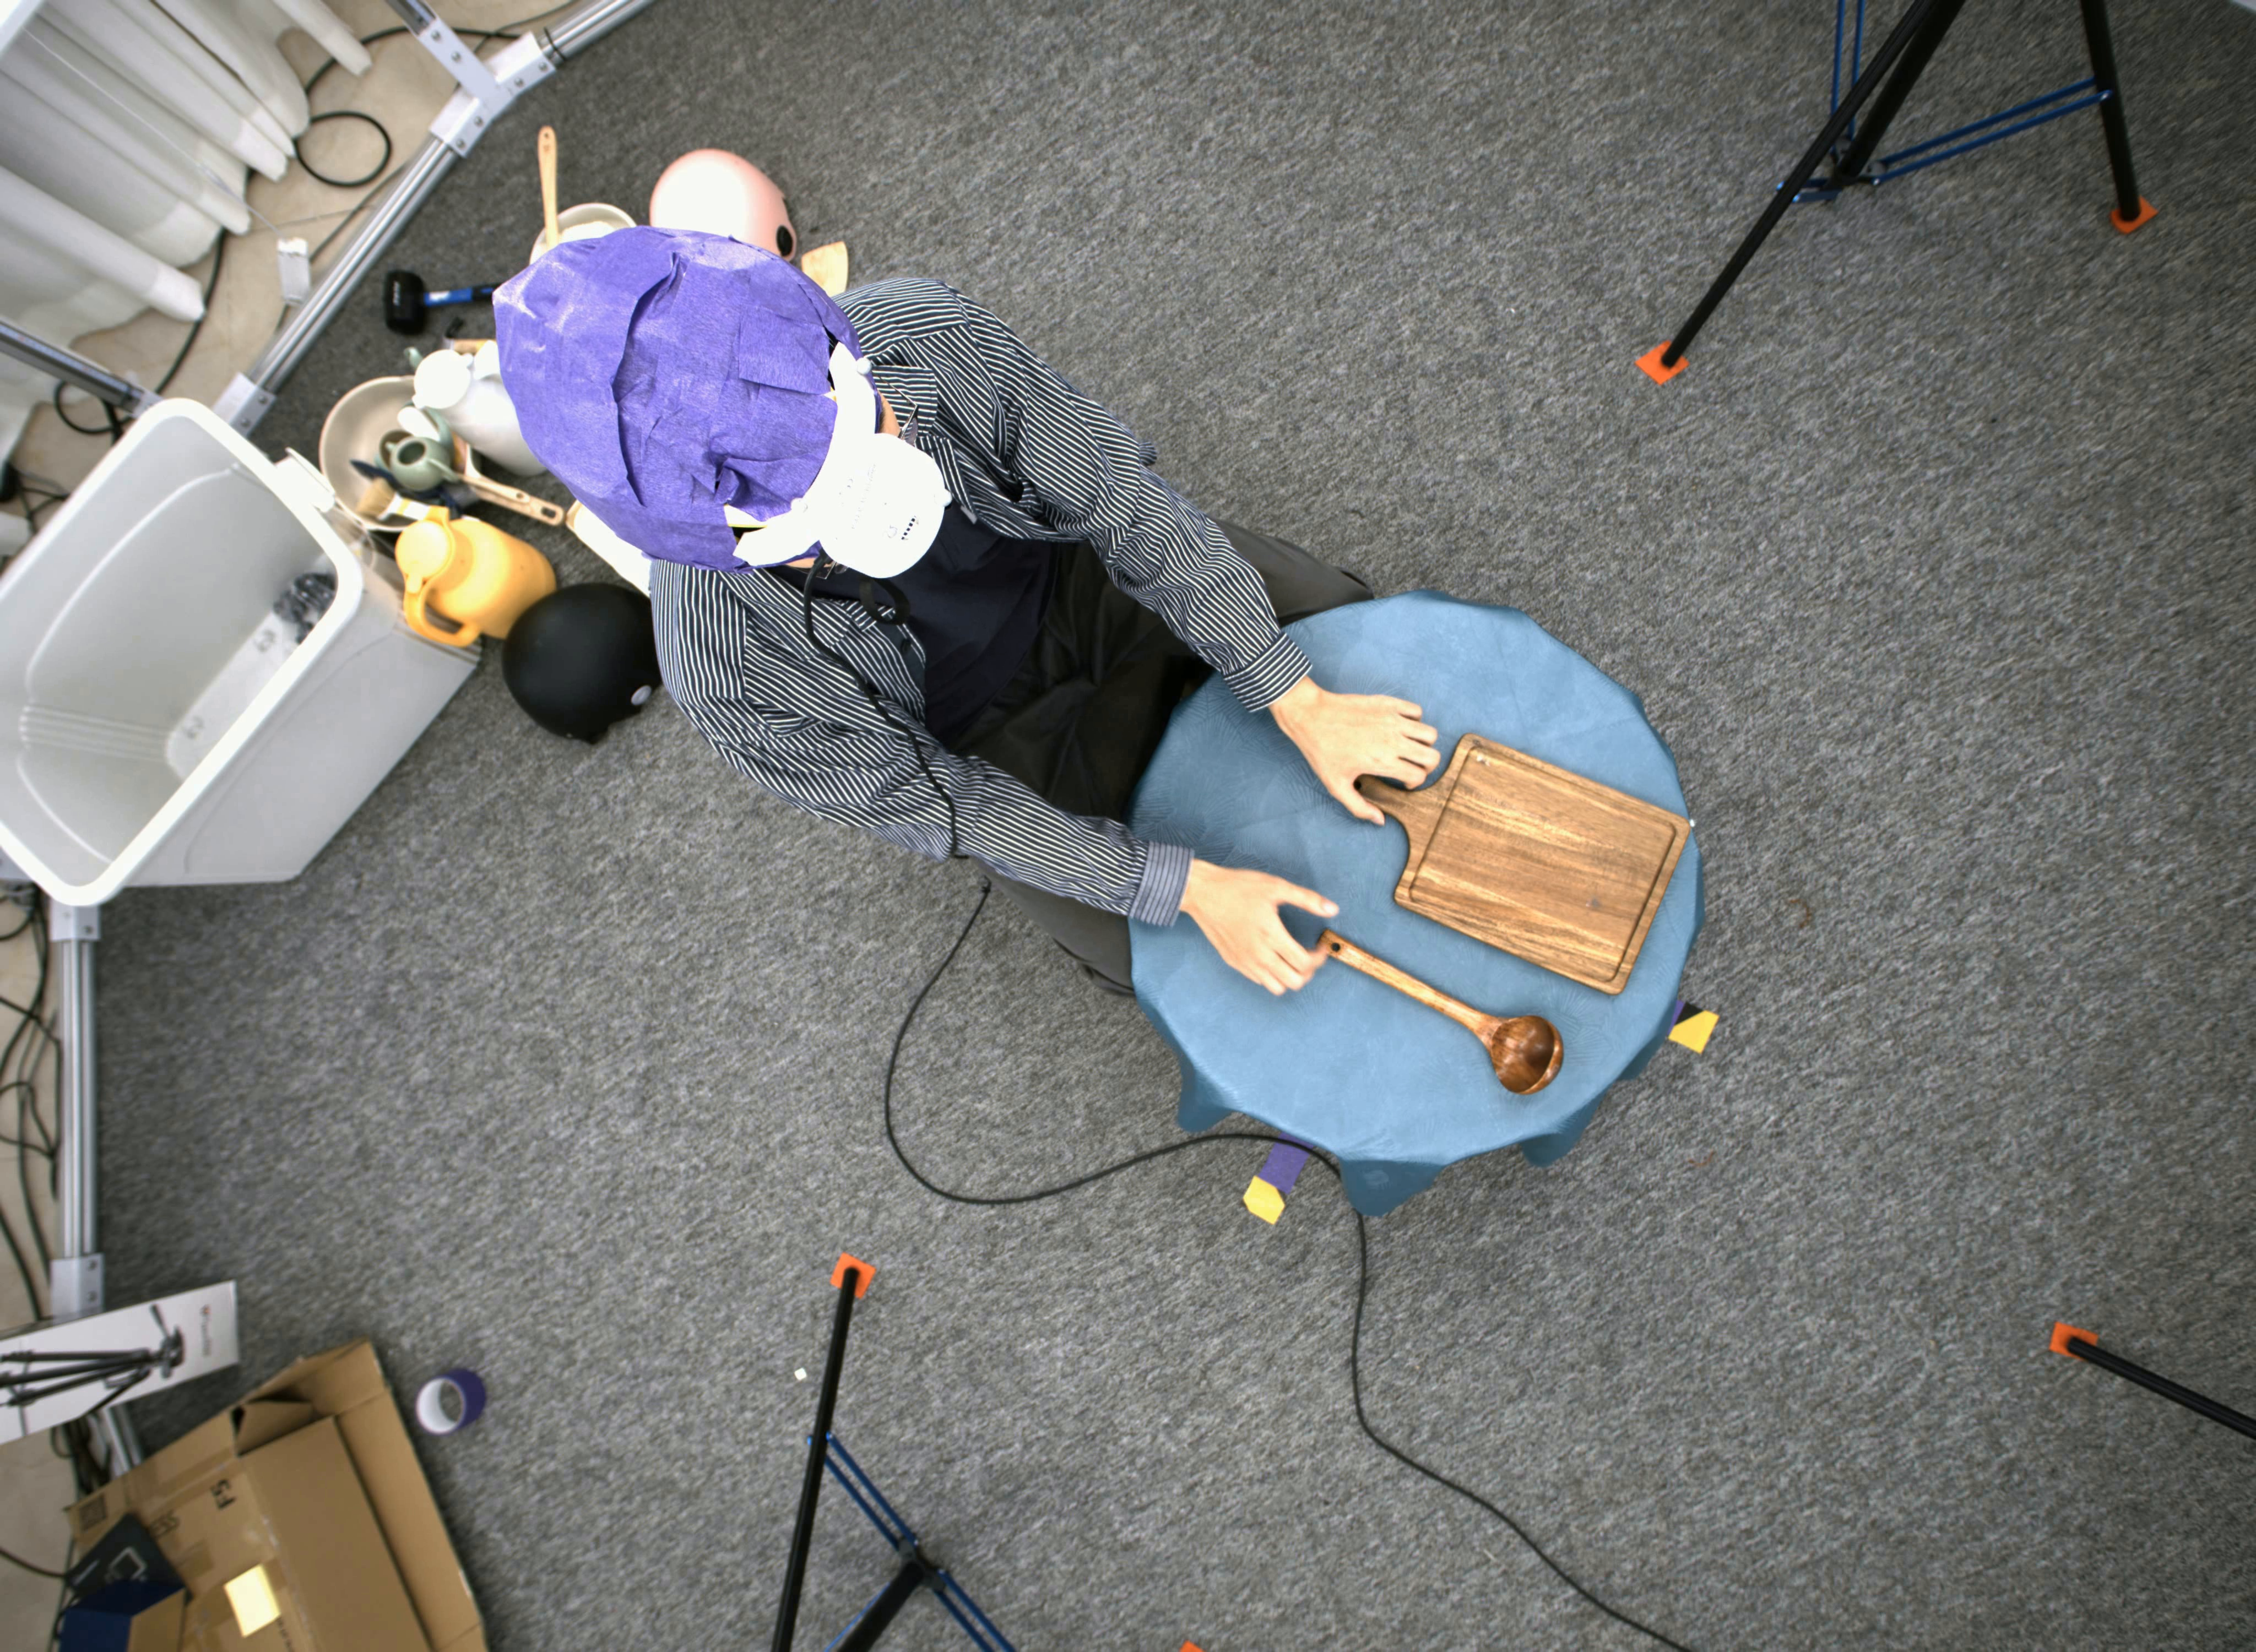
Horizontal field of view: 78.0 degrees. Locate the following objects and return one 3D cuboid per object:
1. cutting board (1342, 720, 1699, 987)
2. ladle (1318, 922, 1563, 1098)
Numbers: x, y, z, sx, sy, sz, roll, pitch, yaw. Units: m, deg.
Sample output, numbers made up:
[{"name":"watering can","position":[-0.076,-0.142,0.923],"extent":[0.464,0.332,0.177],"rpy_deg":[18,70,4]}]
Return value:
[{"name":"cutting board","position":[0.386,0.005,1.420],"extent":[0.352,0.023,0.201],"rpy_deg":[24,92,10]},{"name":"ladle","position":[0.310,0.179,1.398],"extent":[0.273,0.076,0.082],"rpy_deg":[30,96,10]}]
